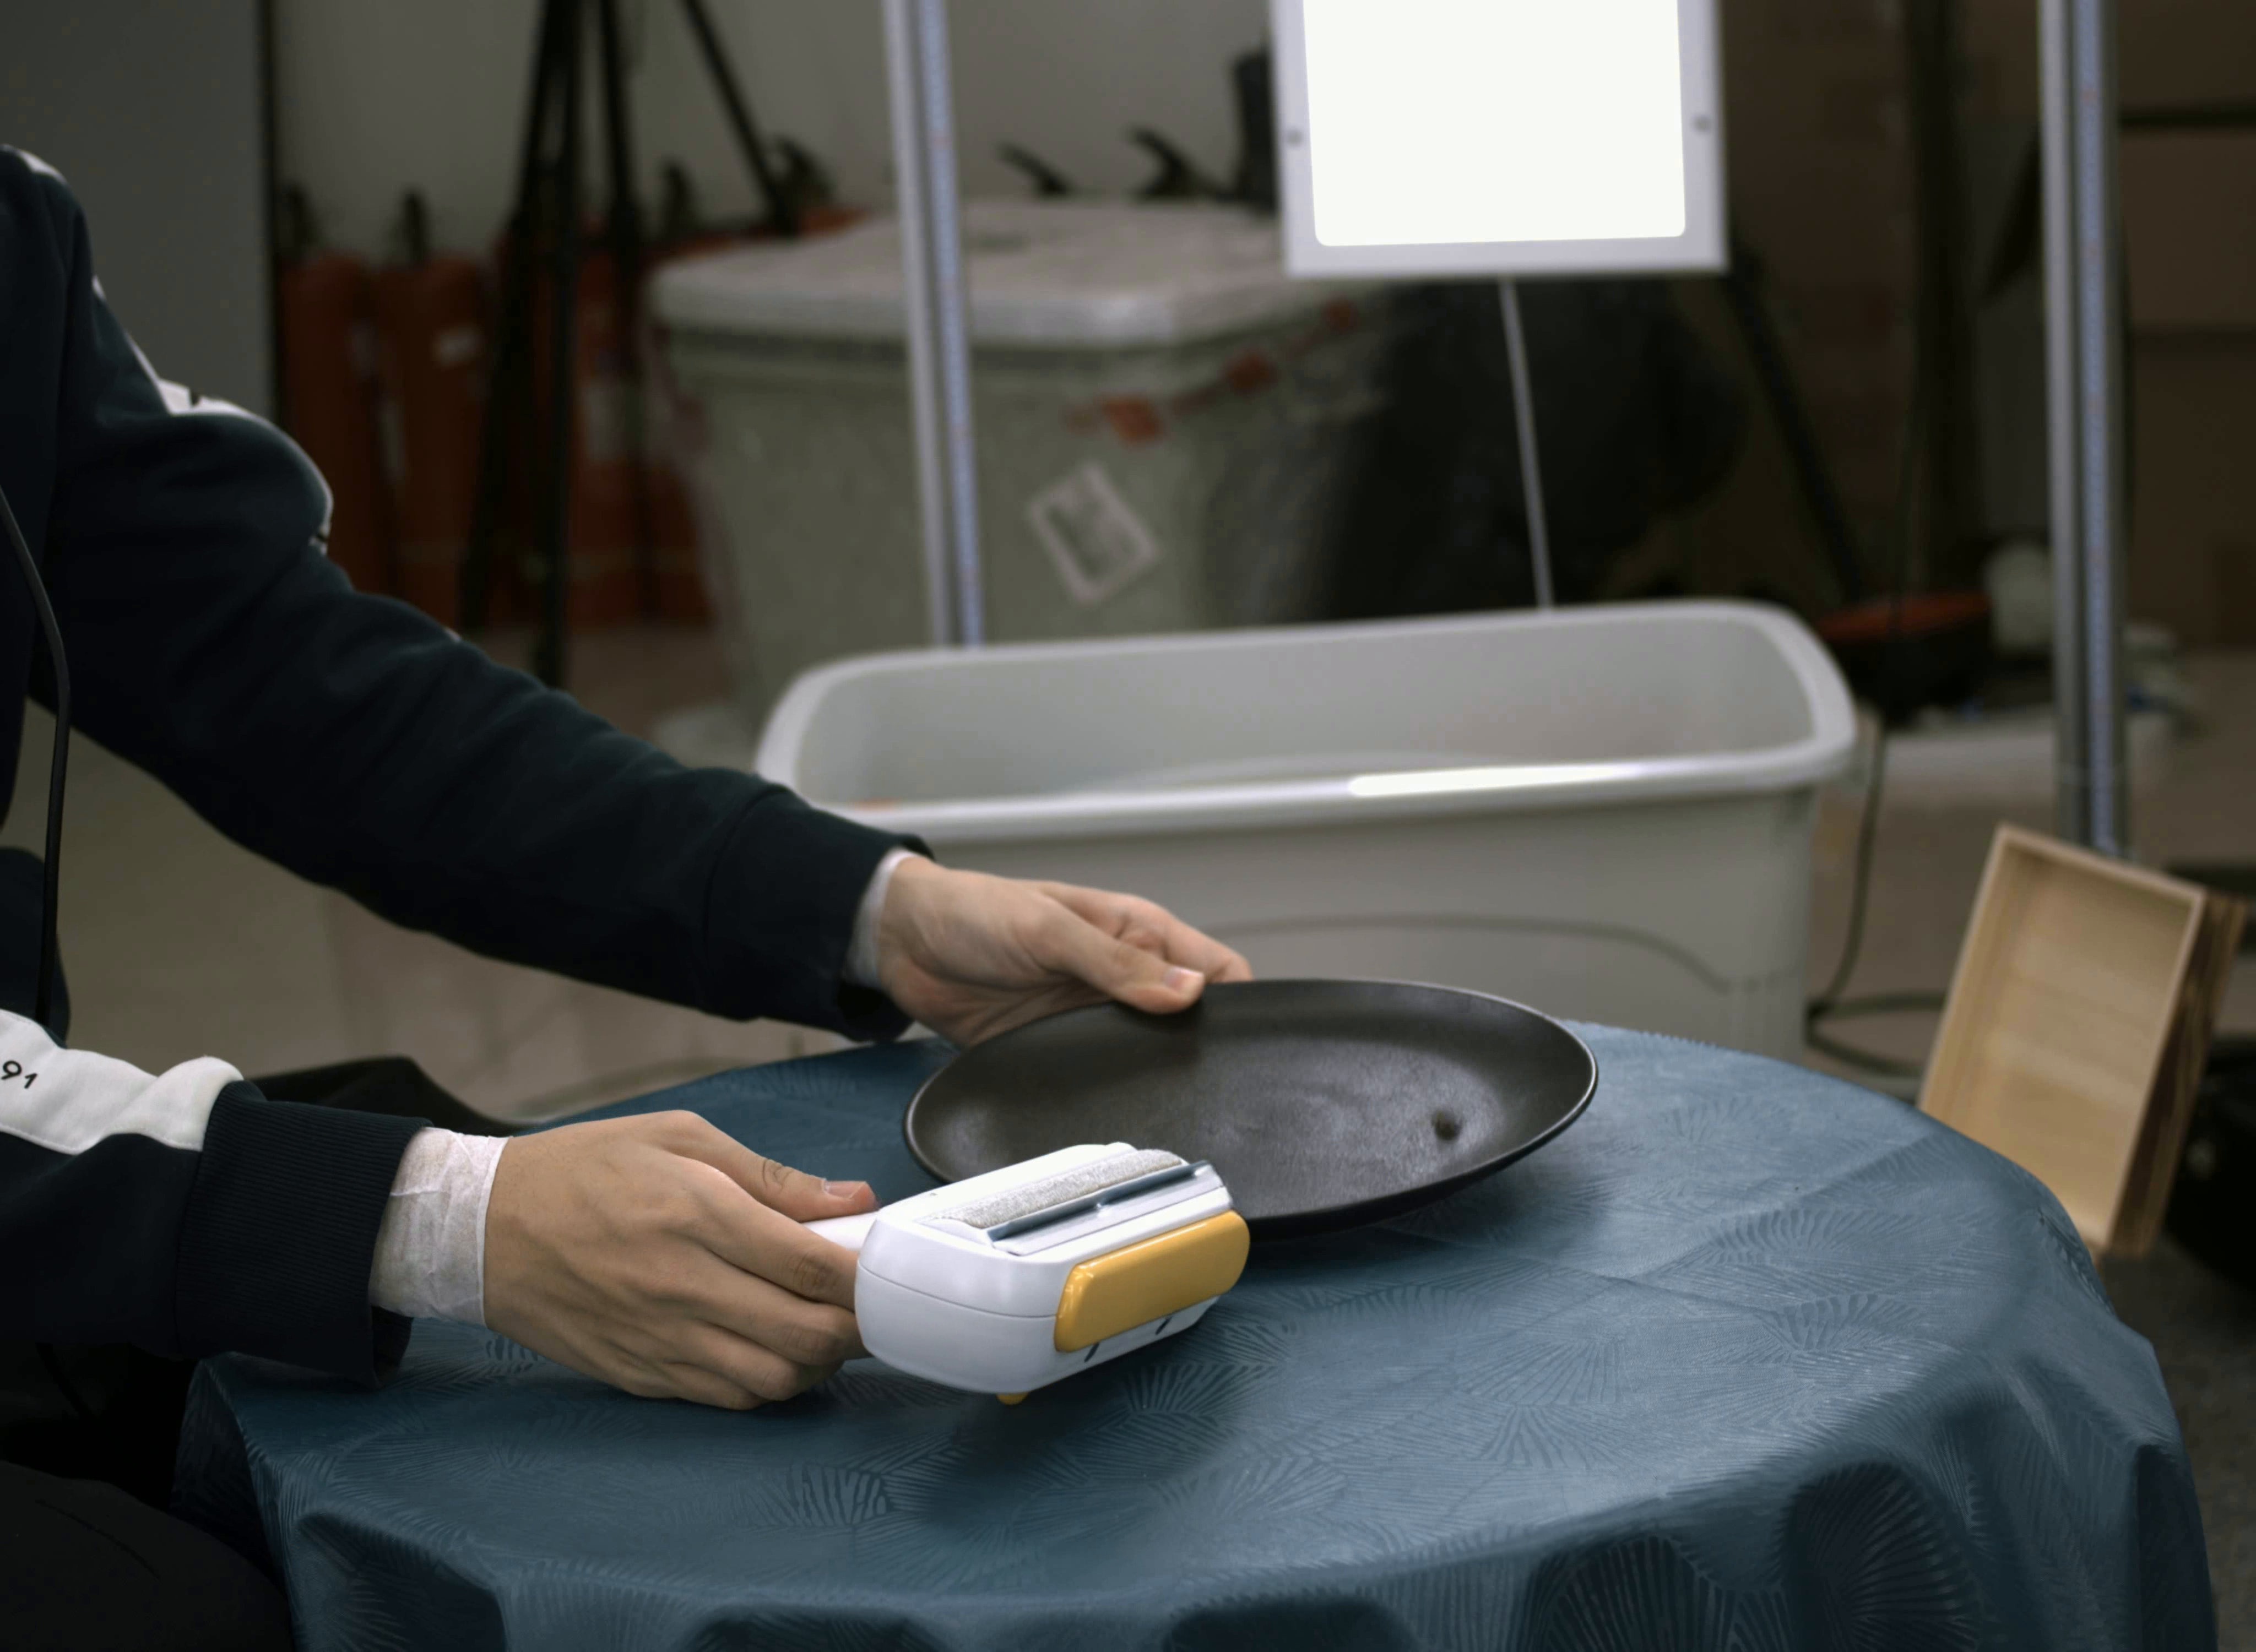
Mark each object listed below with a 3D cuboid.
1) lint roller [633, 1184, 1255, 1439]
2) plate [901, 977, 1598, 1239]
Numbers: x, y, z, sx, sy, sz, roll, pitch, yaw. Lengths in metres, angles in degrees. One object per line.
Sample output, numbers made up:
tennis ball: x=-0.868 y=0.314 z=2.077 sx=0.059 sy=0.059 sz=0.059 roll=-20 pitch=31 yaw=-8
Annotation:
lint roller: x=-0.075 y=0.155 z=1.723 sx=0.196 sy=0.074 sz=0.188 roll=-7 pitch=3 yaw=31
plate: x=0.043 y=0.101 z=1.908 sx=0.244 sy=0.023 sz=0.244 roll=-6 pitch=17 yaw=0
